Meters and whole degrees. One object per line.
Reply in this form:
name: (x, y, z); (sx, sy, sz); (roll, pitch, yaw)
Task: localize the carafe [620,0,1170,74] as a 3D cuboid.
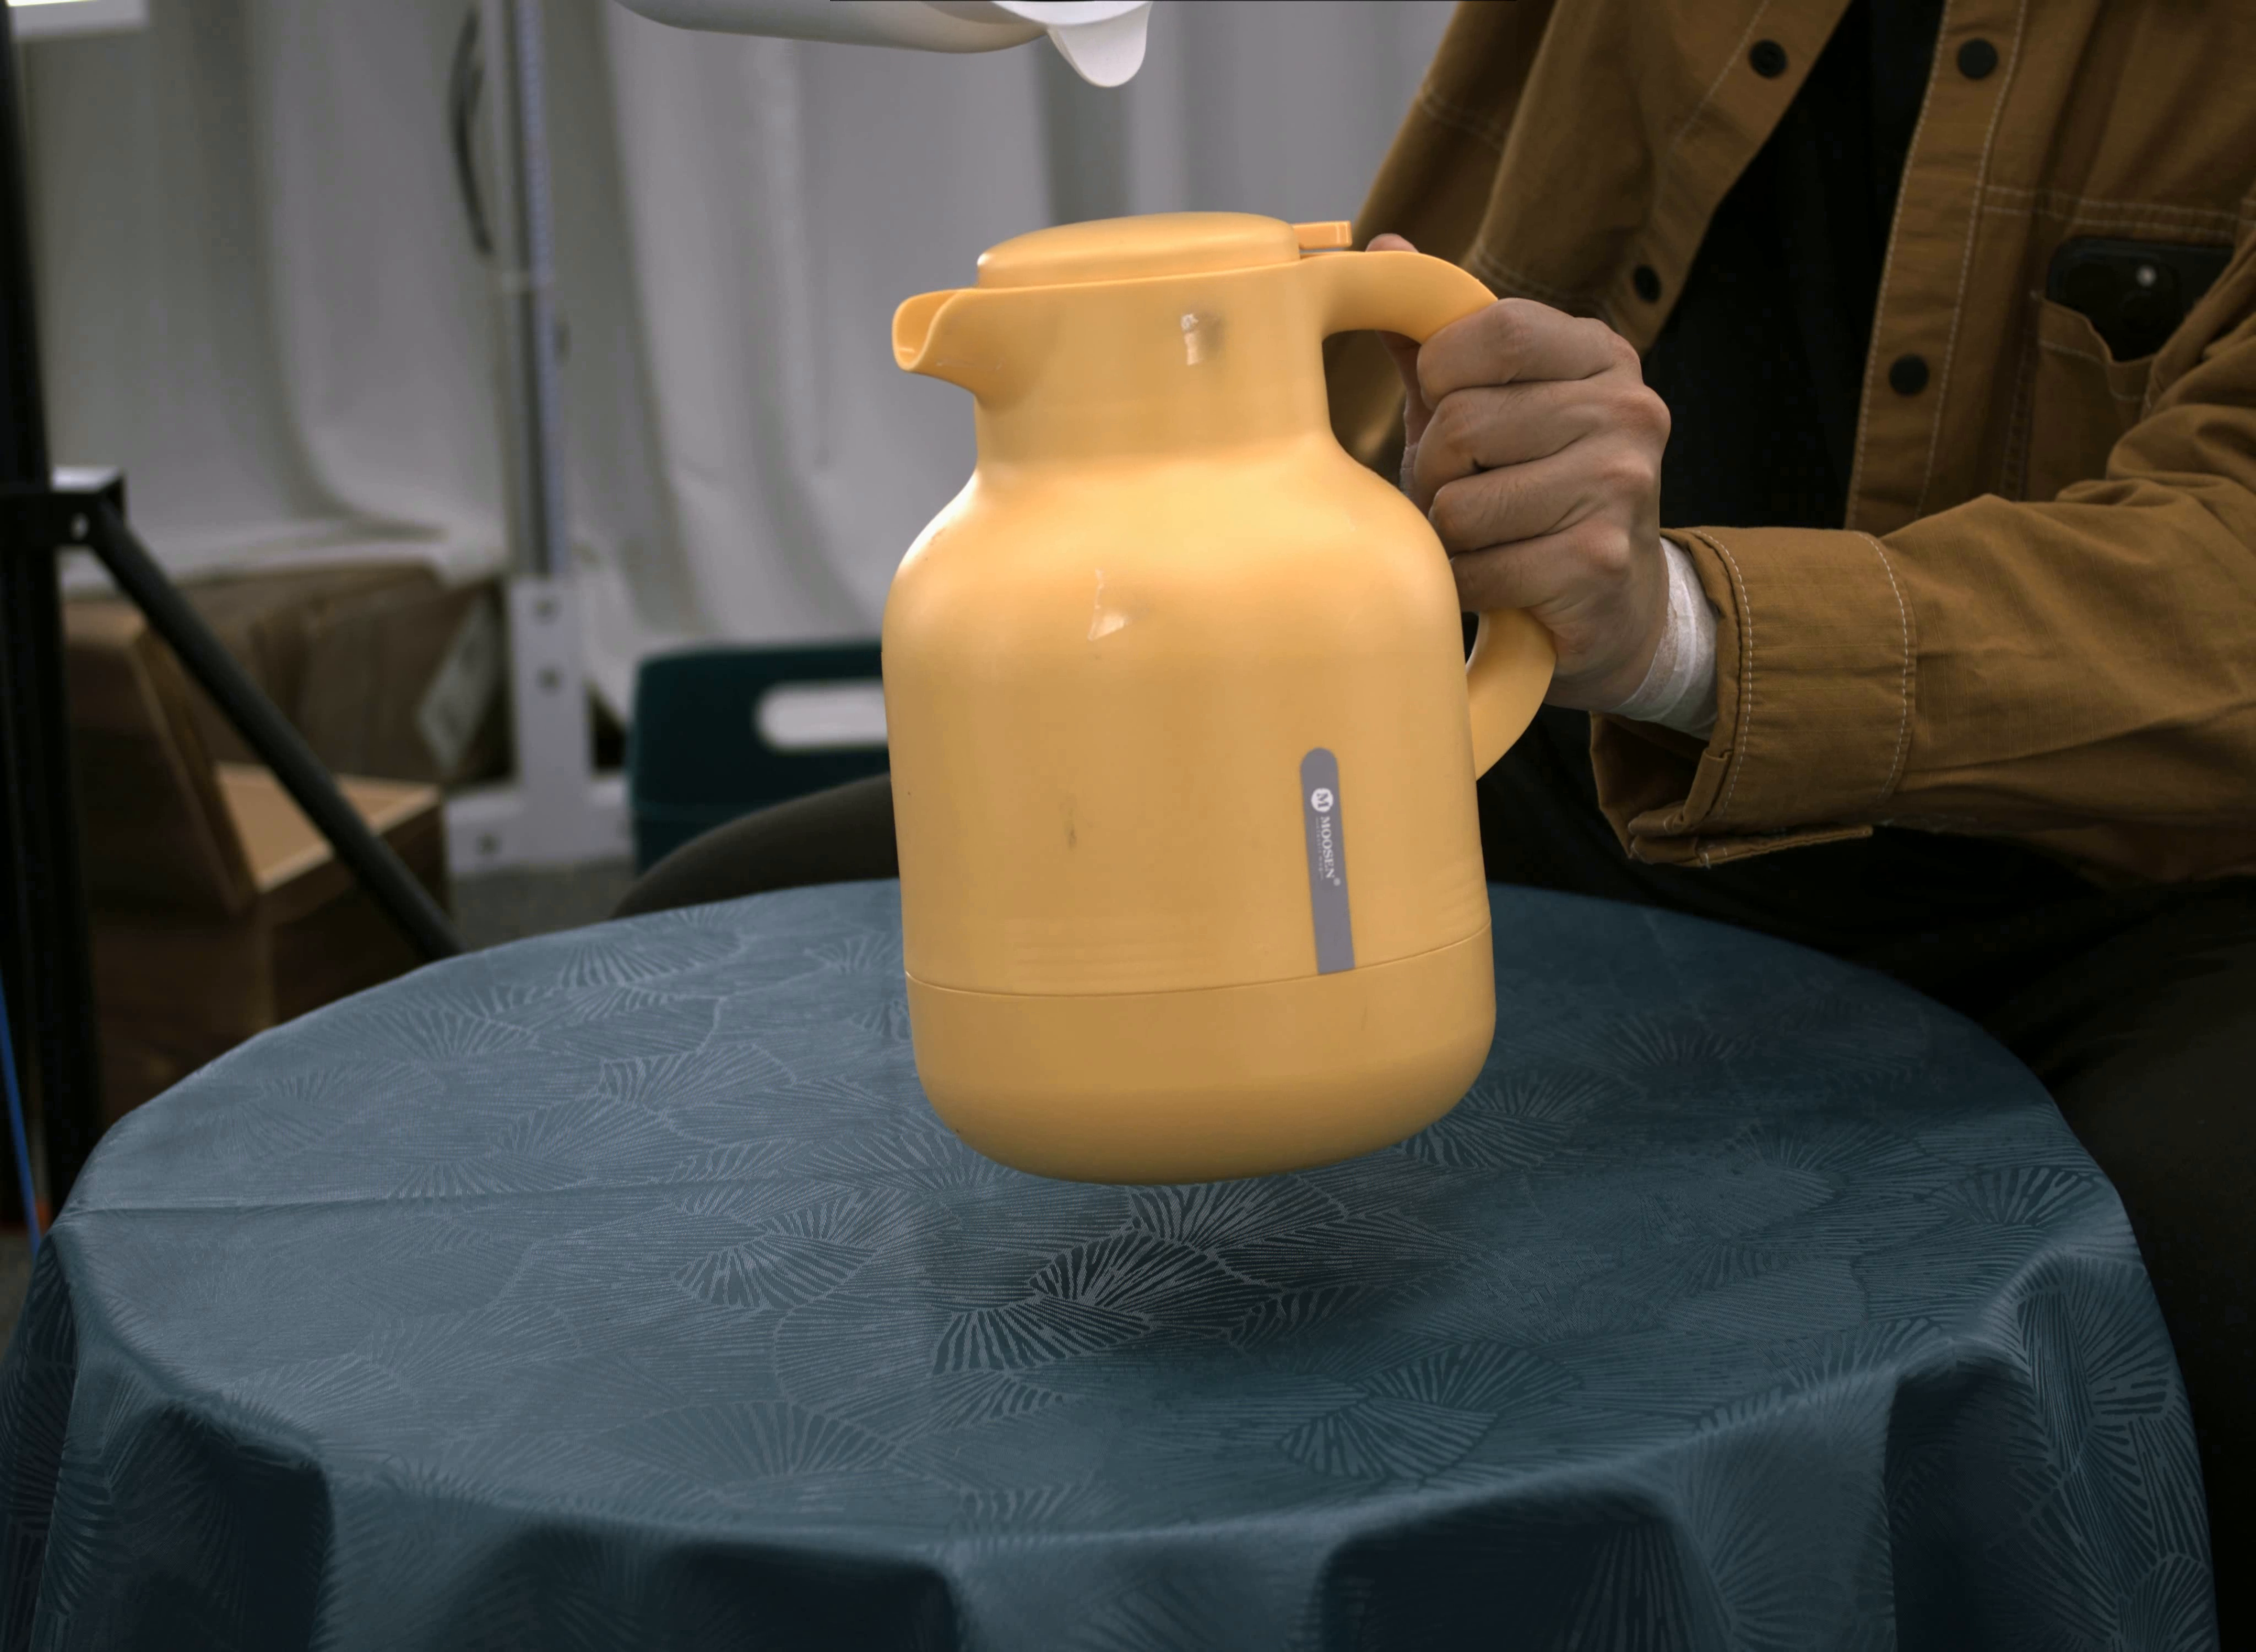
carafe: (-0.077, -0.300, 1.526); (0.122, 0.172, 0.274); (-22, 17, -20)

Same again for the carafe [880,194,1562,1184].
carafe: (0.031, -0.043, 1.466); (0.198, 0.261, 0.166); (-10, 11, -24)
